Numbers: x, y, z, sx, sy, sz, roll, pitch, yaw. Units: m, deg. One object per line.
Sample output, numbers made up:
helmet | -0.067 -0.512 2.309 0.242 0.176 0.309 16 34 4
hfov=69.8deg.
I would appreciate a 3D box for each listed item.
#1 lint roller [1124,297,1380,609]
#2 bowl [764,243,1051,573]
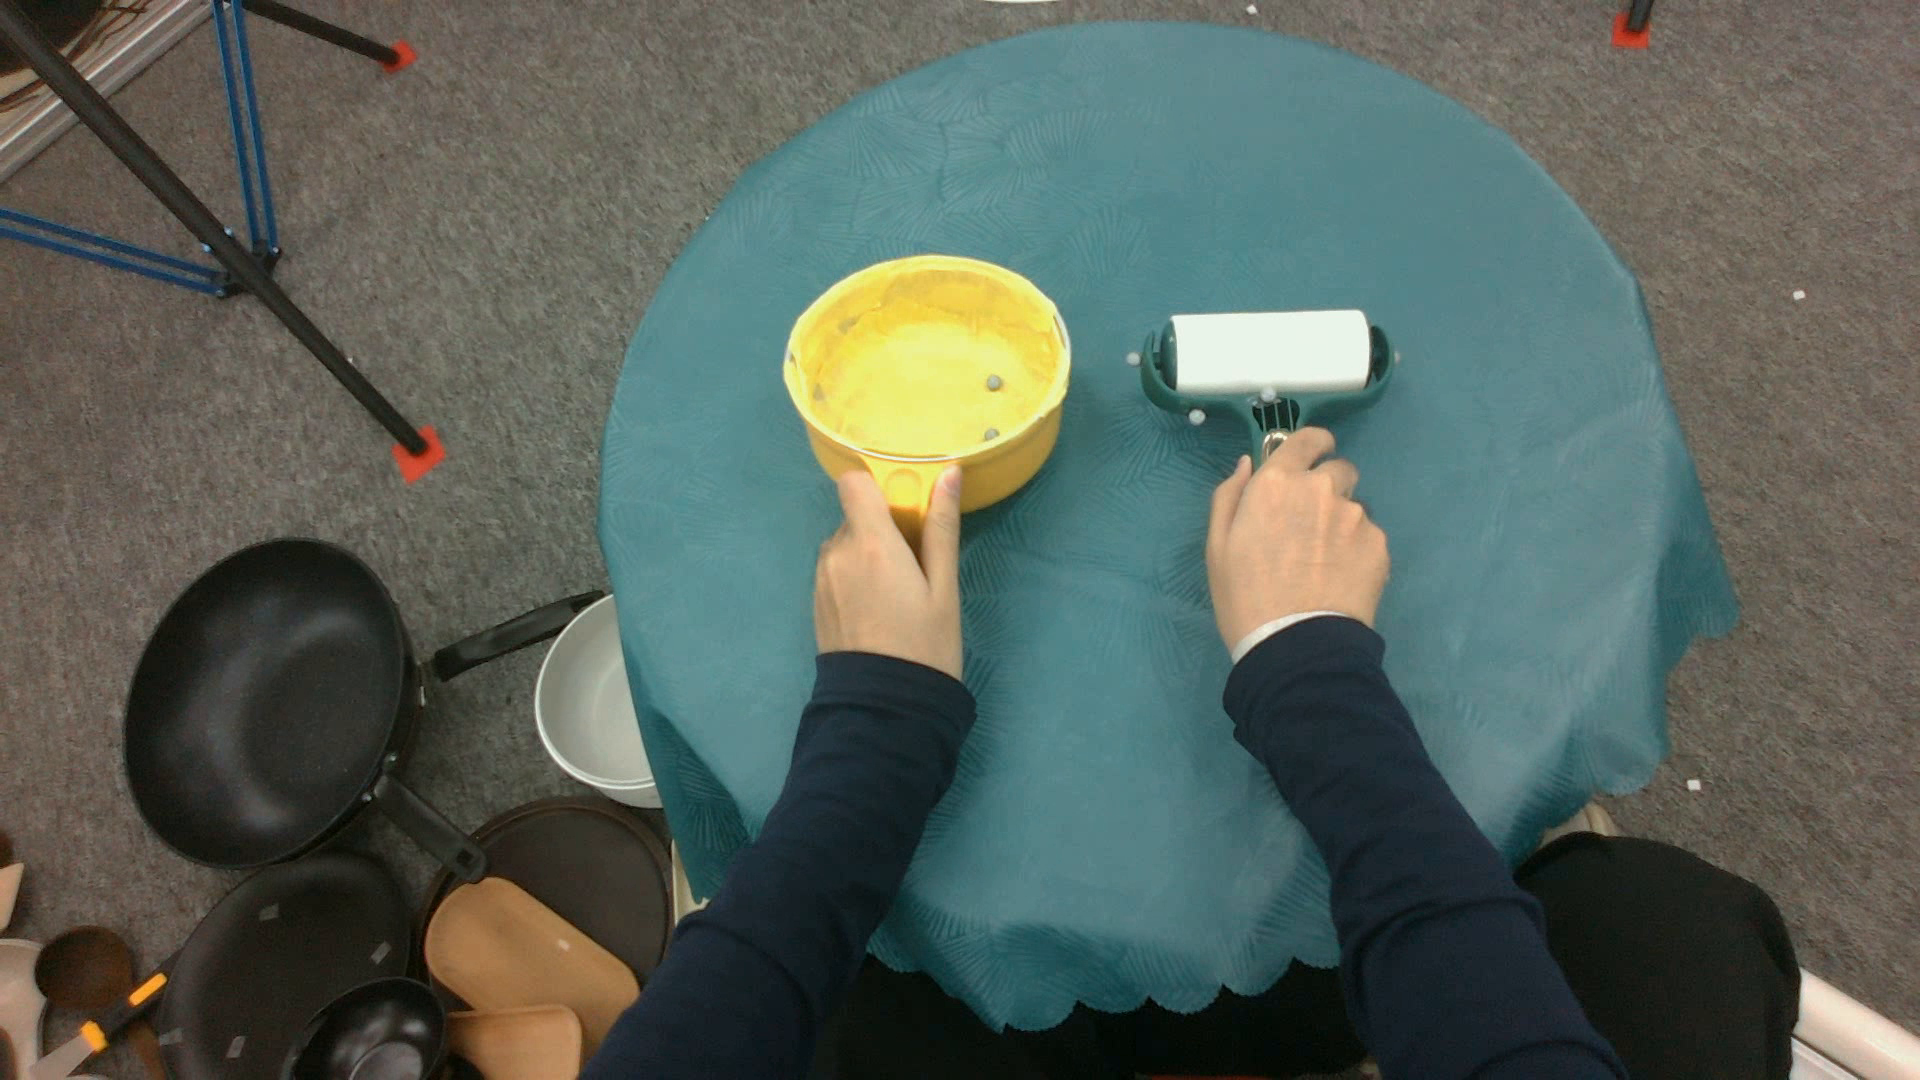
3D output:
lint roller | 0.158 -0.052 0.702 0.134 0.048 0.181 -2 53 0
bowl | -0.027 -0.075 0.747 0.153 0.074 0.180 -1 53 1
